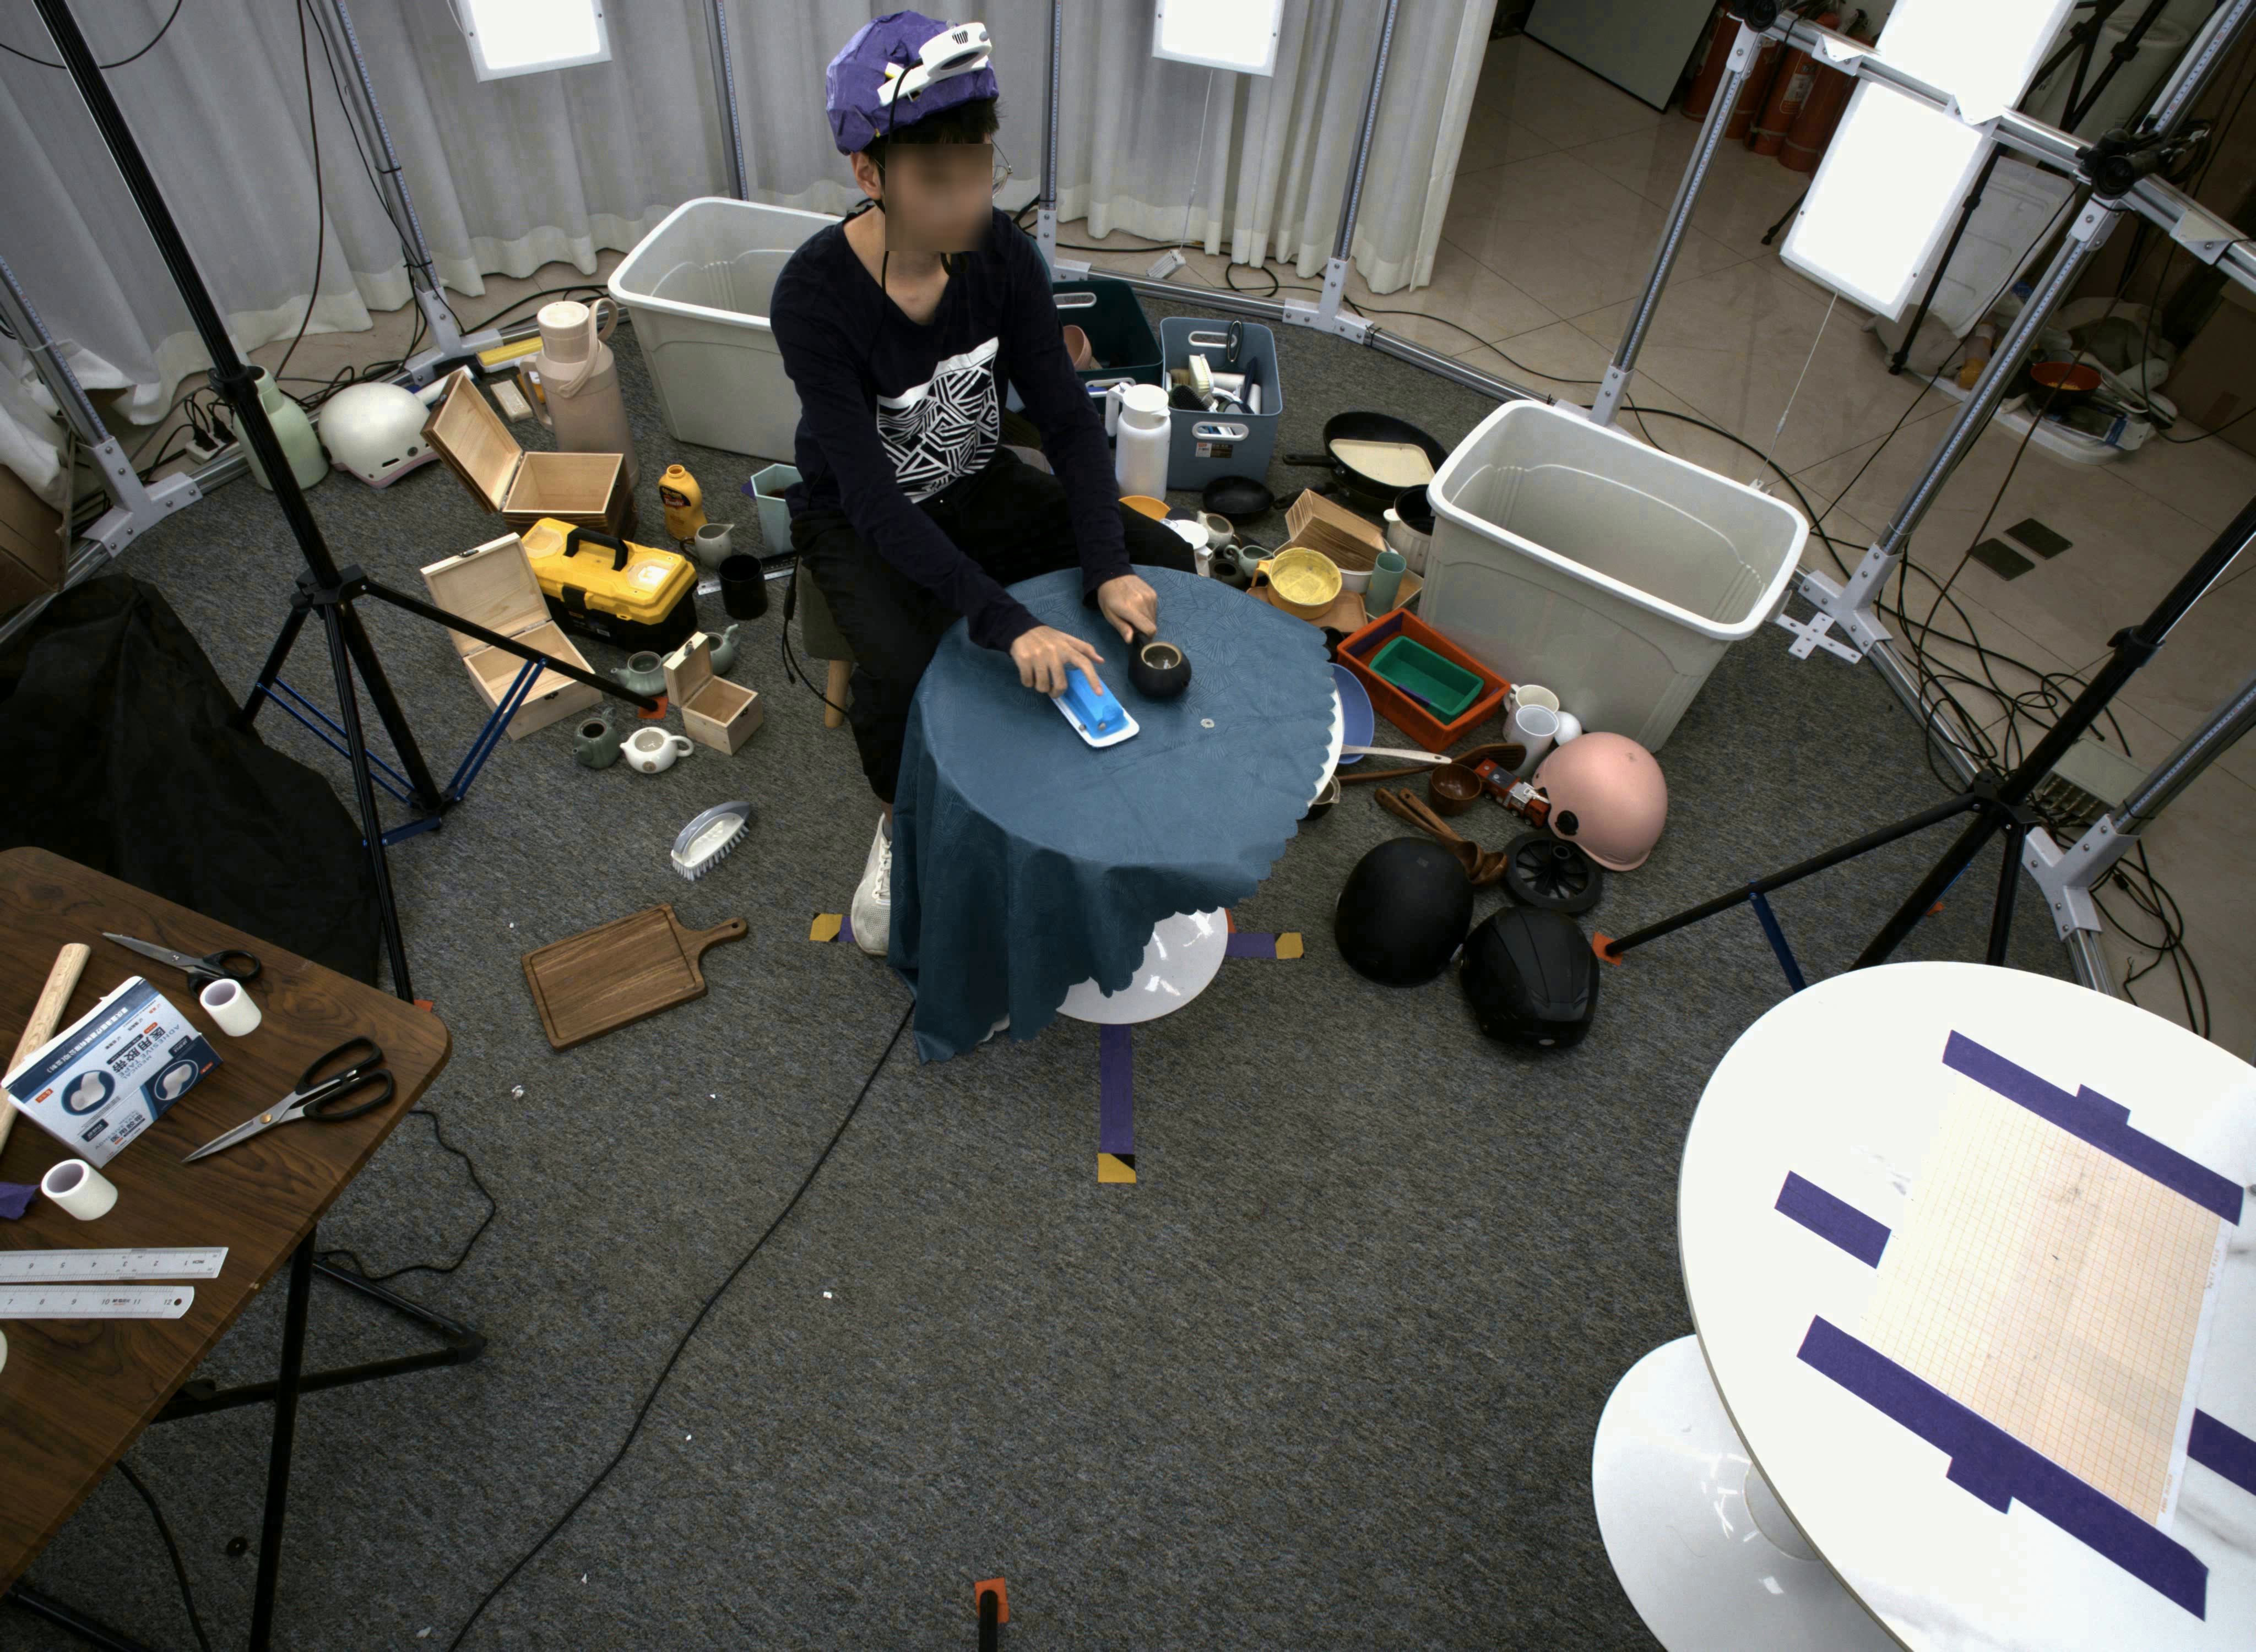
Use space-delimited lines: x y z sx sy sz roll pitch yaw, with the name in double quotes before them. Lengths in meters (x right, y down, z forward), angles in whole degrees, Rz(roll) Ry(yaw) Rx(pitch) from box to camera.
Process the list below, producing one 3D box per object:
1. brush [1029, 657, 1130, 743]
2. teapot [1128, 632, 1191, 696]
"brush" -0.062 -0.179 1.759 0.145 0.055 0.085 41 47 13
"teapot" 0.046 -0.225 1.830 0.091 0.052 0.136 -22 54 -23
